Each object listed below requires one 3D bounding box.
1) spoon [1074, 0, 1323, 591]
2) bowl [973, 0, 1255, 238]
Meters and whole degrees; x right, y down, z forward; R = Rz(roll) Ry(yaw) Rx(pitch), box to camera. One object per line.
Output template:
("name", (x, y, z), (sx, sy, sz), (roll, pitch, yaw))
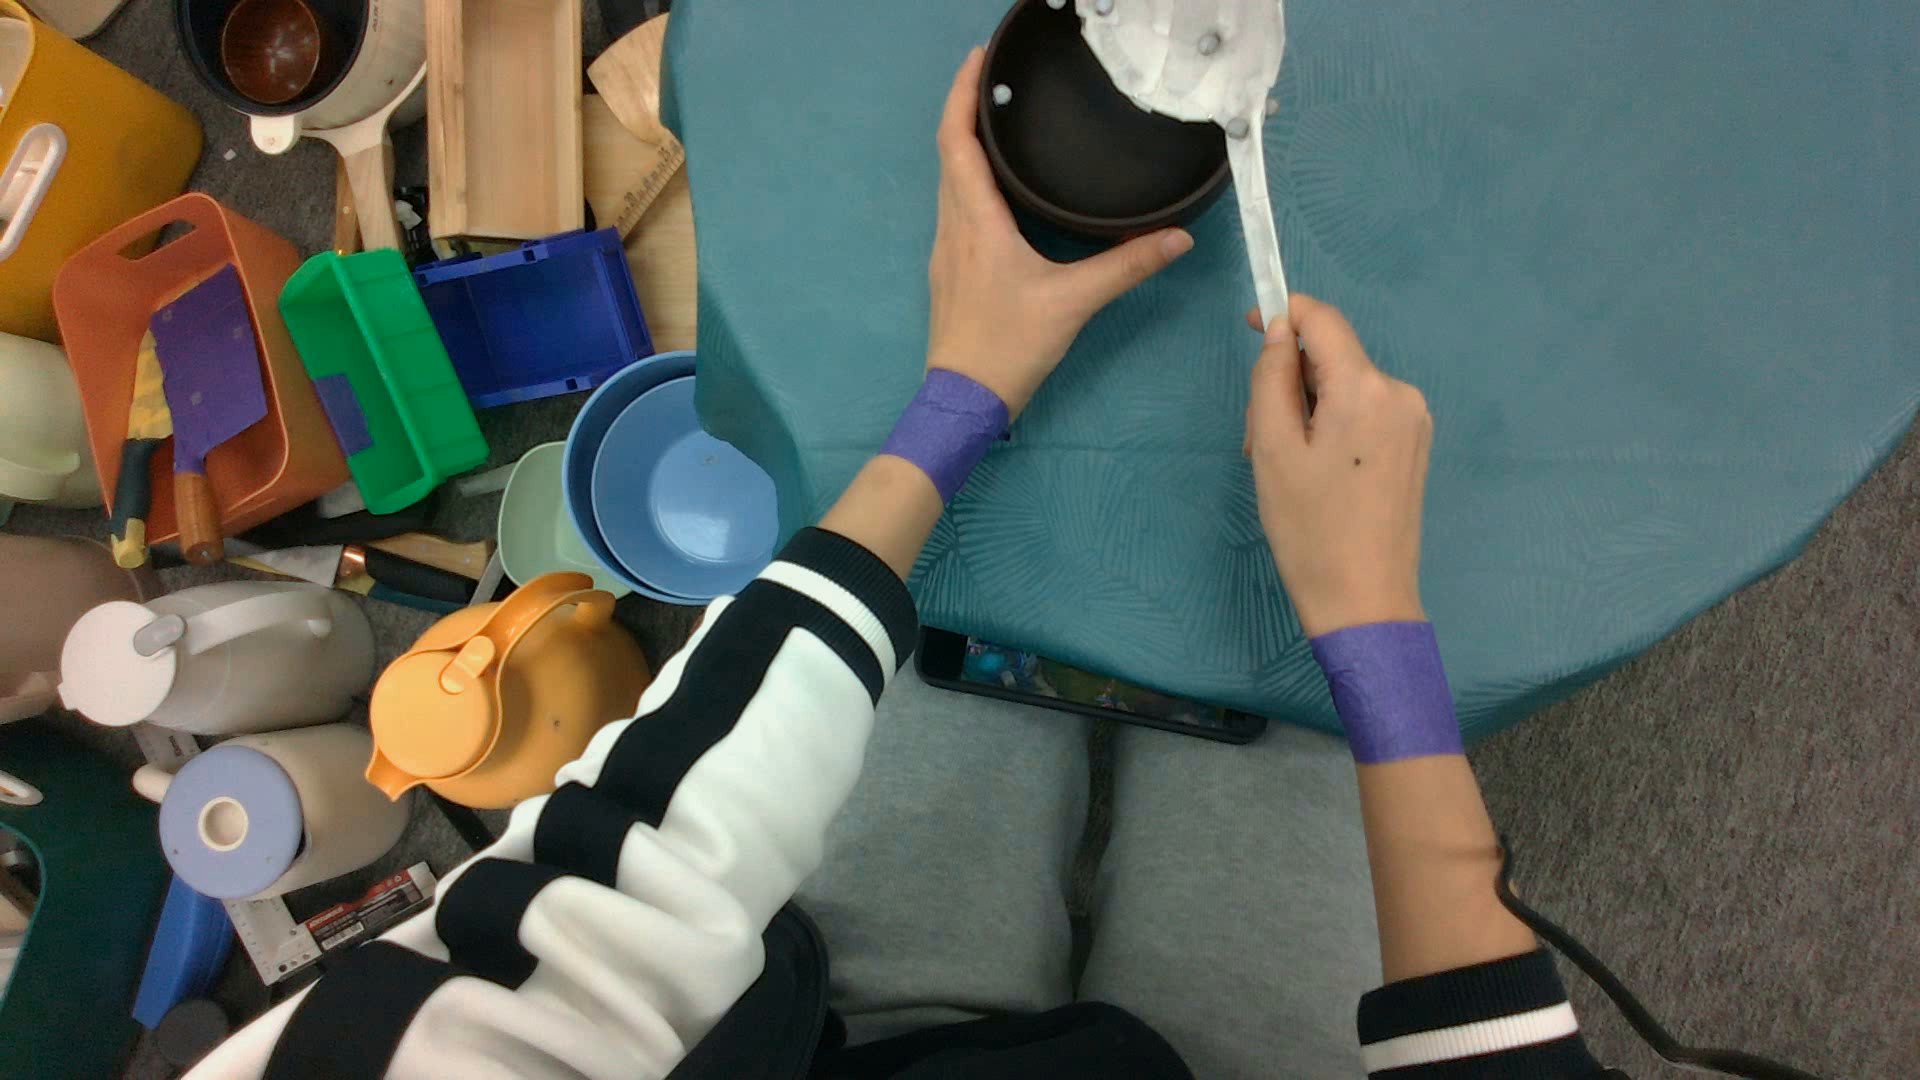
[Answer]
("spoon", (0.098, -0.111, 0.552), (0.059, 0.100, 0.277), (-12, 95, -30))
("bowl", (0.066, -0.188, 0.601), (0.118, 0.070, 0.118), (0, 87, 5))
